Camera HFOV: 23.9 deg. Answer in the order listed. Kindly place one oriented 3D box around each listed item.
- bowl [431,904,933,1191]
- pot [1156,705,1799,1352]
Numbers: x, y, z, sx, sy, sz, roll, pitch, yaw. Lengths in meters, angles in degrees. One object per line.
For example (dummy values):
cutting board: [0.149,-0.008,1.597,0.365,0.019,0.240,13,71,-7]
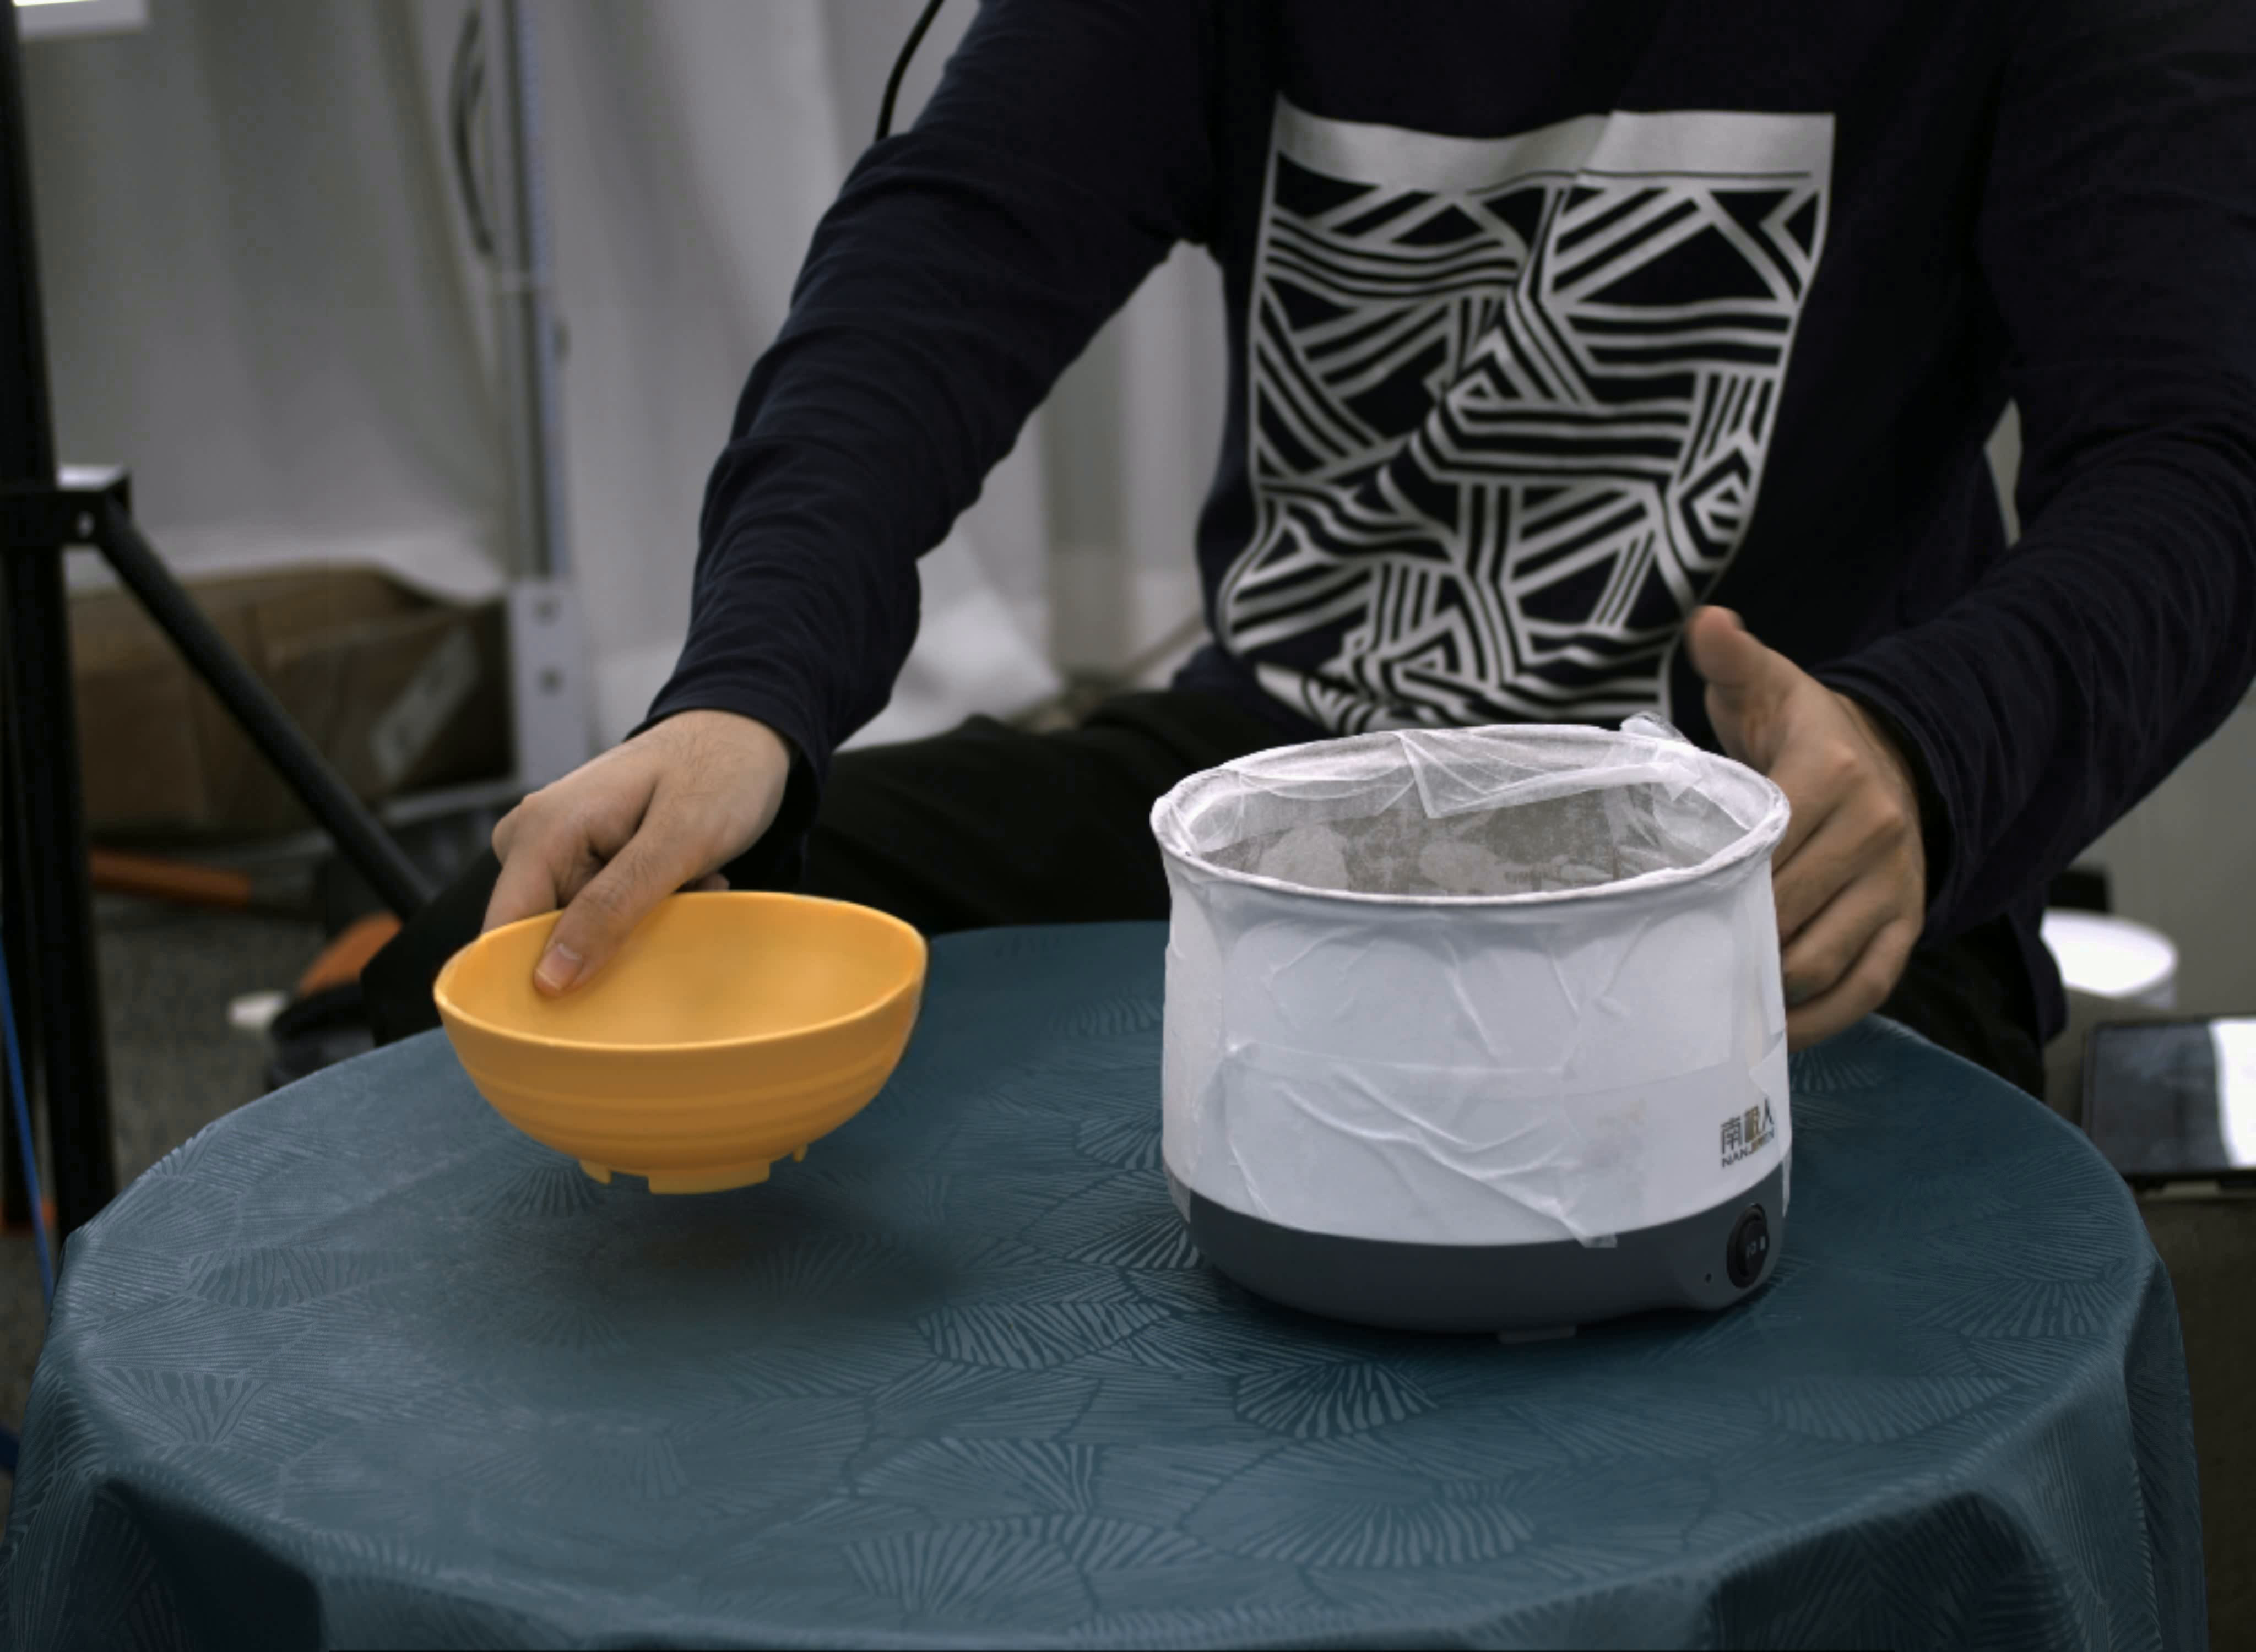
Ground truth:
bowl: [-0.127,0.068,1.537,0.144,0.060,0.146,-2,14,-1]
pot: [0.111,0.049,1.500,0.182,0.136,0.229,11,21,32]
